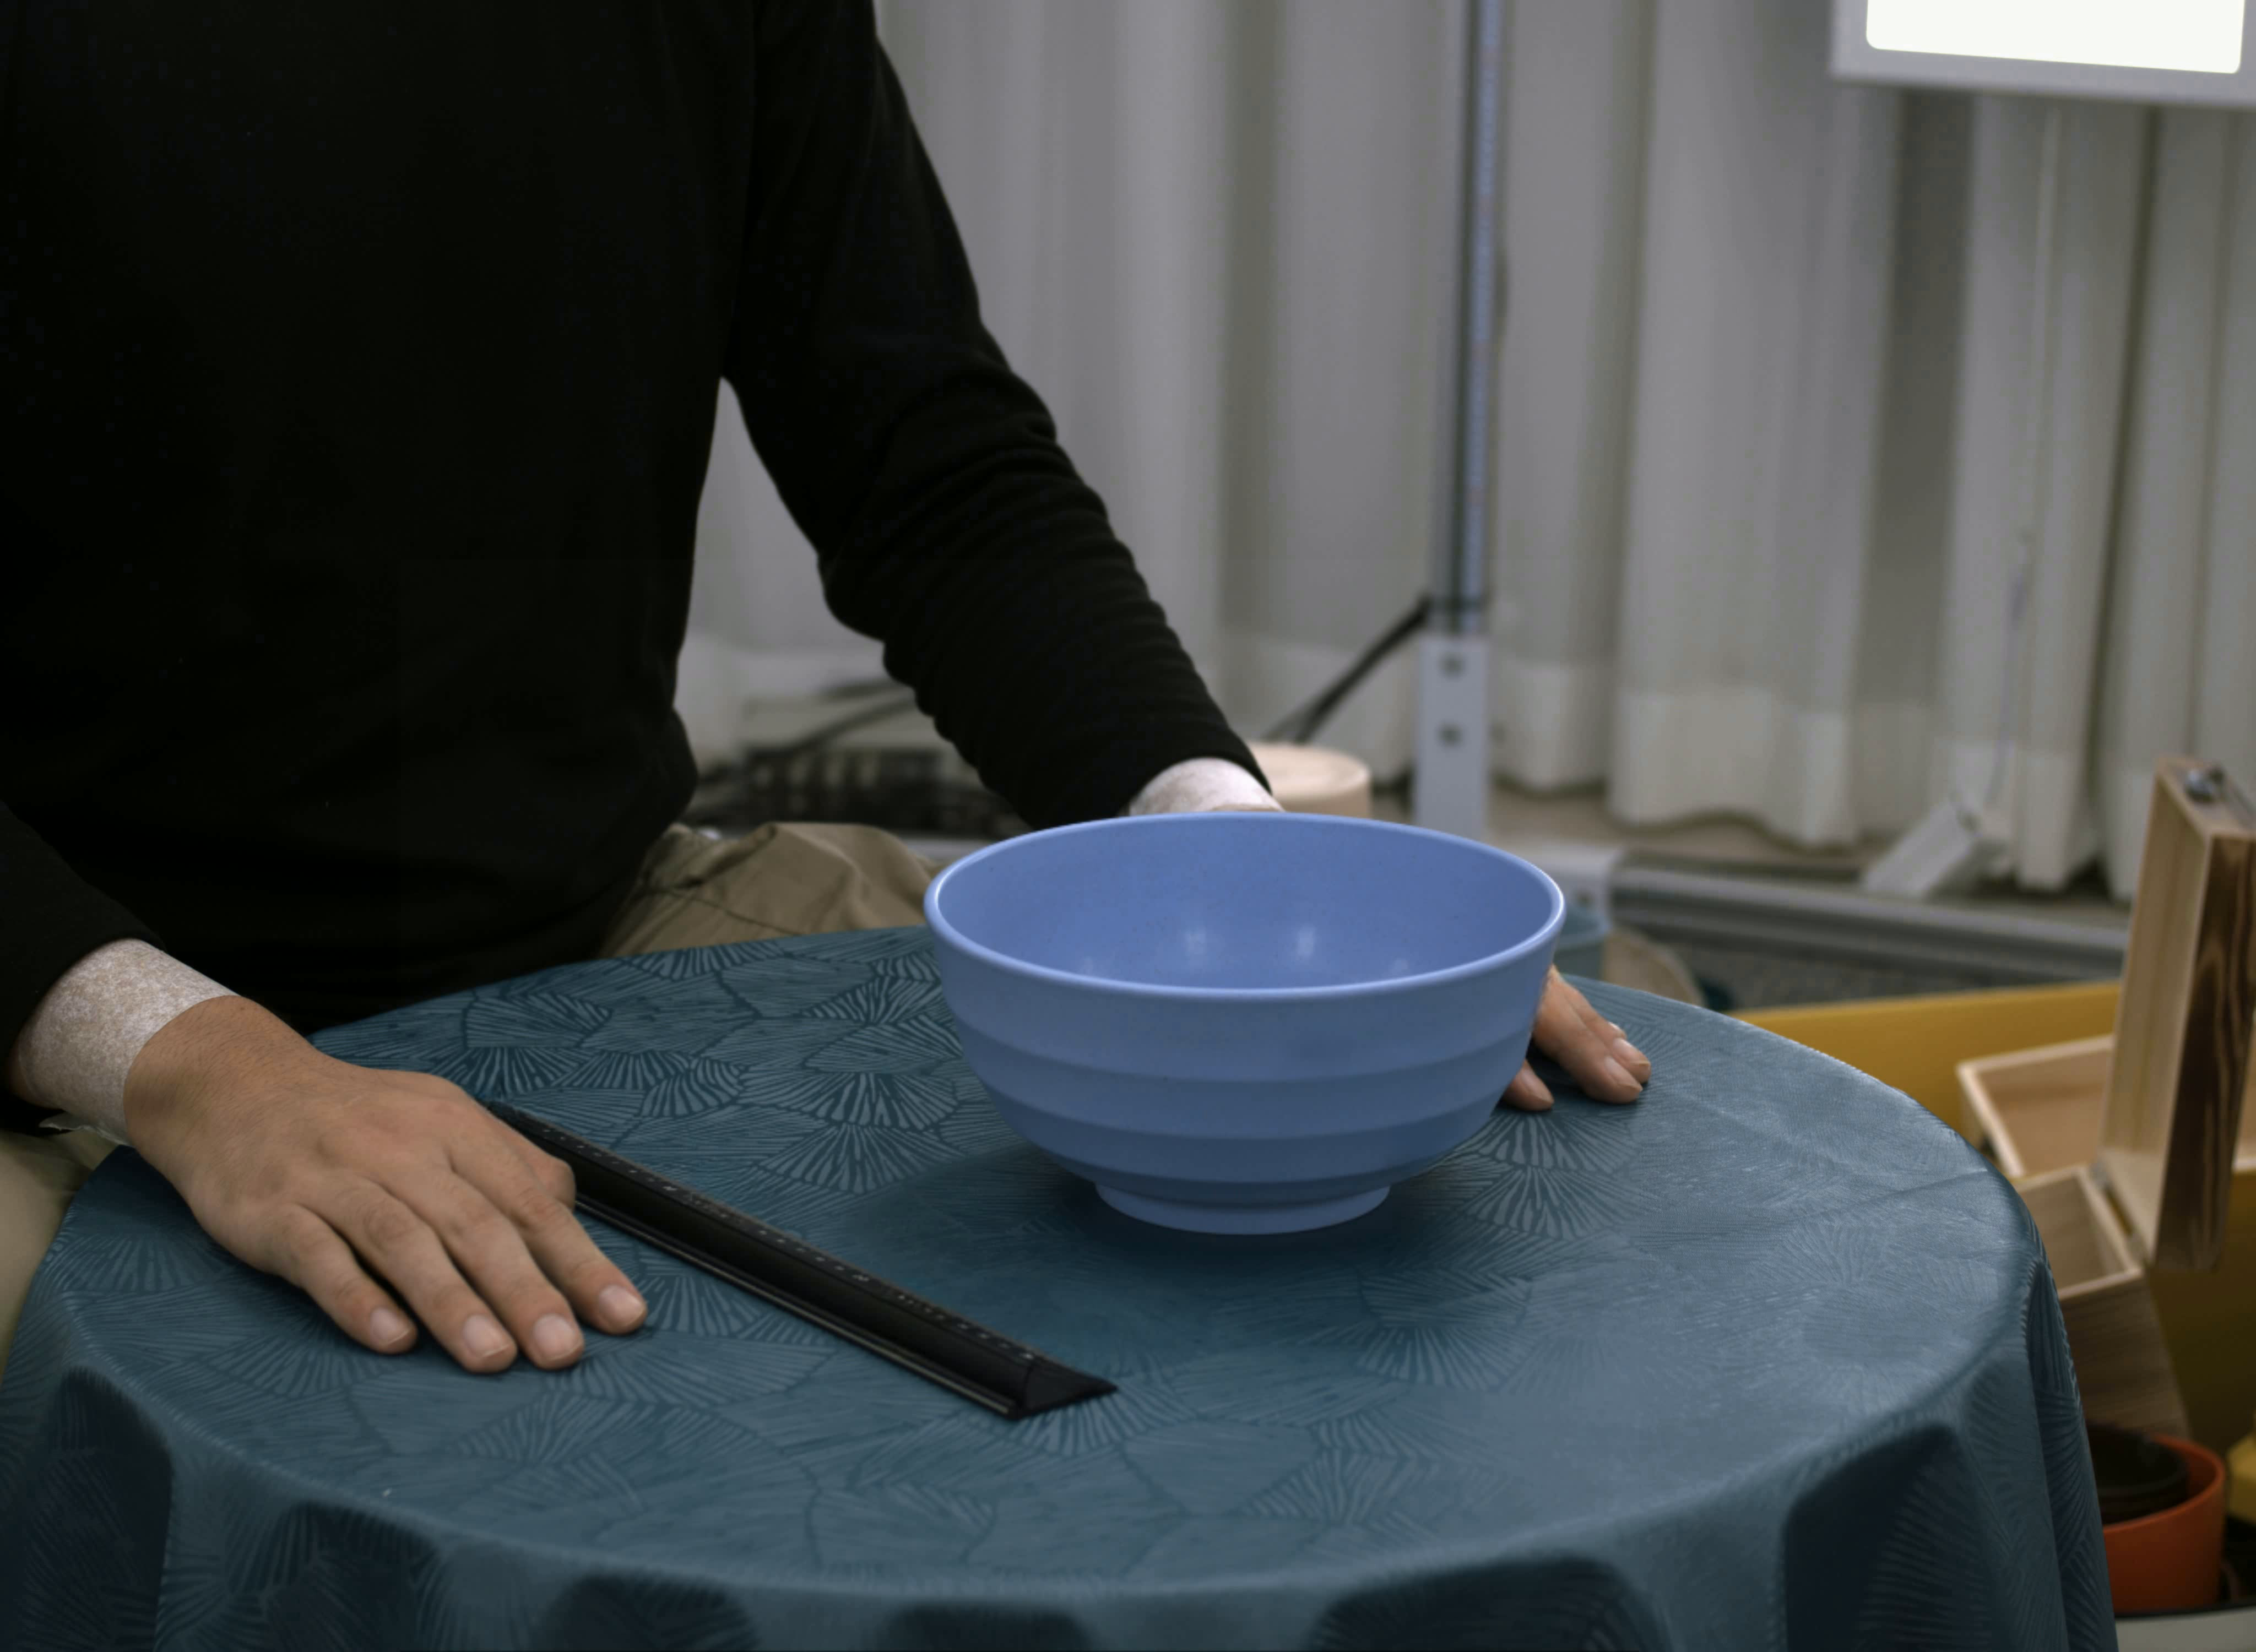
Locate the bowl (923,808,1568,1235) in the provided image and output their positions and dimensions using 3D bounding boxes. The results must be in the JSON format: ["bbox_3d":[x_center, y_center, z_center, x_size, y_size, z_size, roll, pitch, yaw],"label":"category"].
[{"bbox_3d":[0.035,0.065,1.612,0.196,0.096,0.195,1,16,0],"label":"bowl"}]

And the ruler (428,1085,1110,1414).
[{"bbox_3d":[-0.112,0.120,1.561,0.039,0.017,0.308,-5,15,-39],"label":"ruler"}]
